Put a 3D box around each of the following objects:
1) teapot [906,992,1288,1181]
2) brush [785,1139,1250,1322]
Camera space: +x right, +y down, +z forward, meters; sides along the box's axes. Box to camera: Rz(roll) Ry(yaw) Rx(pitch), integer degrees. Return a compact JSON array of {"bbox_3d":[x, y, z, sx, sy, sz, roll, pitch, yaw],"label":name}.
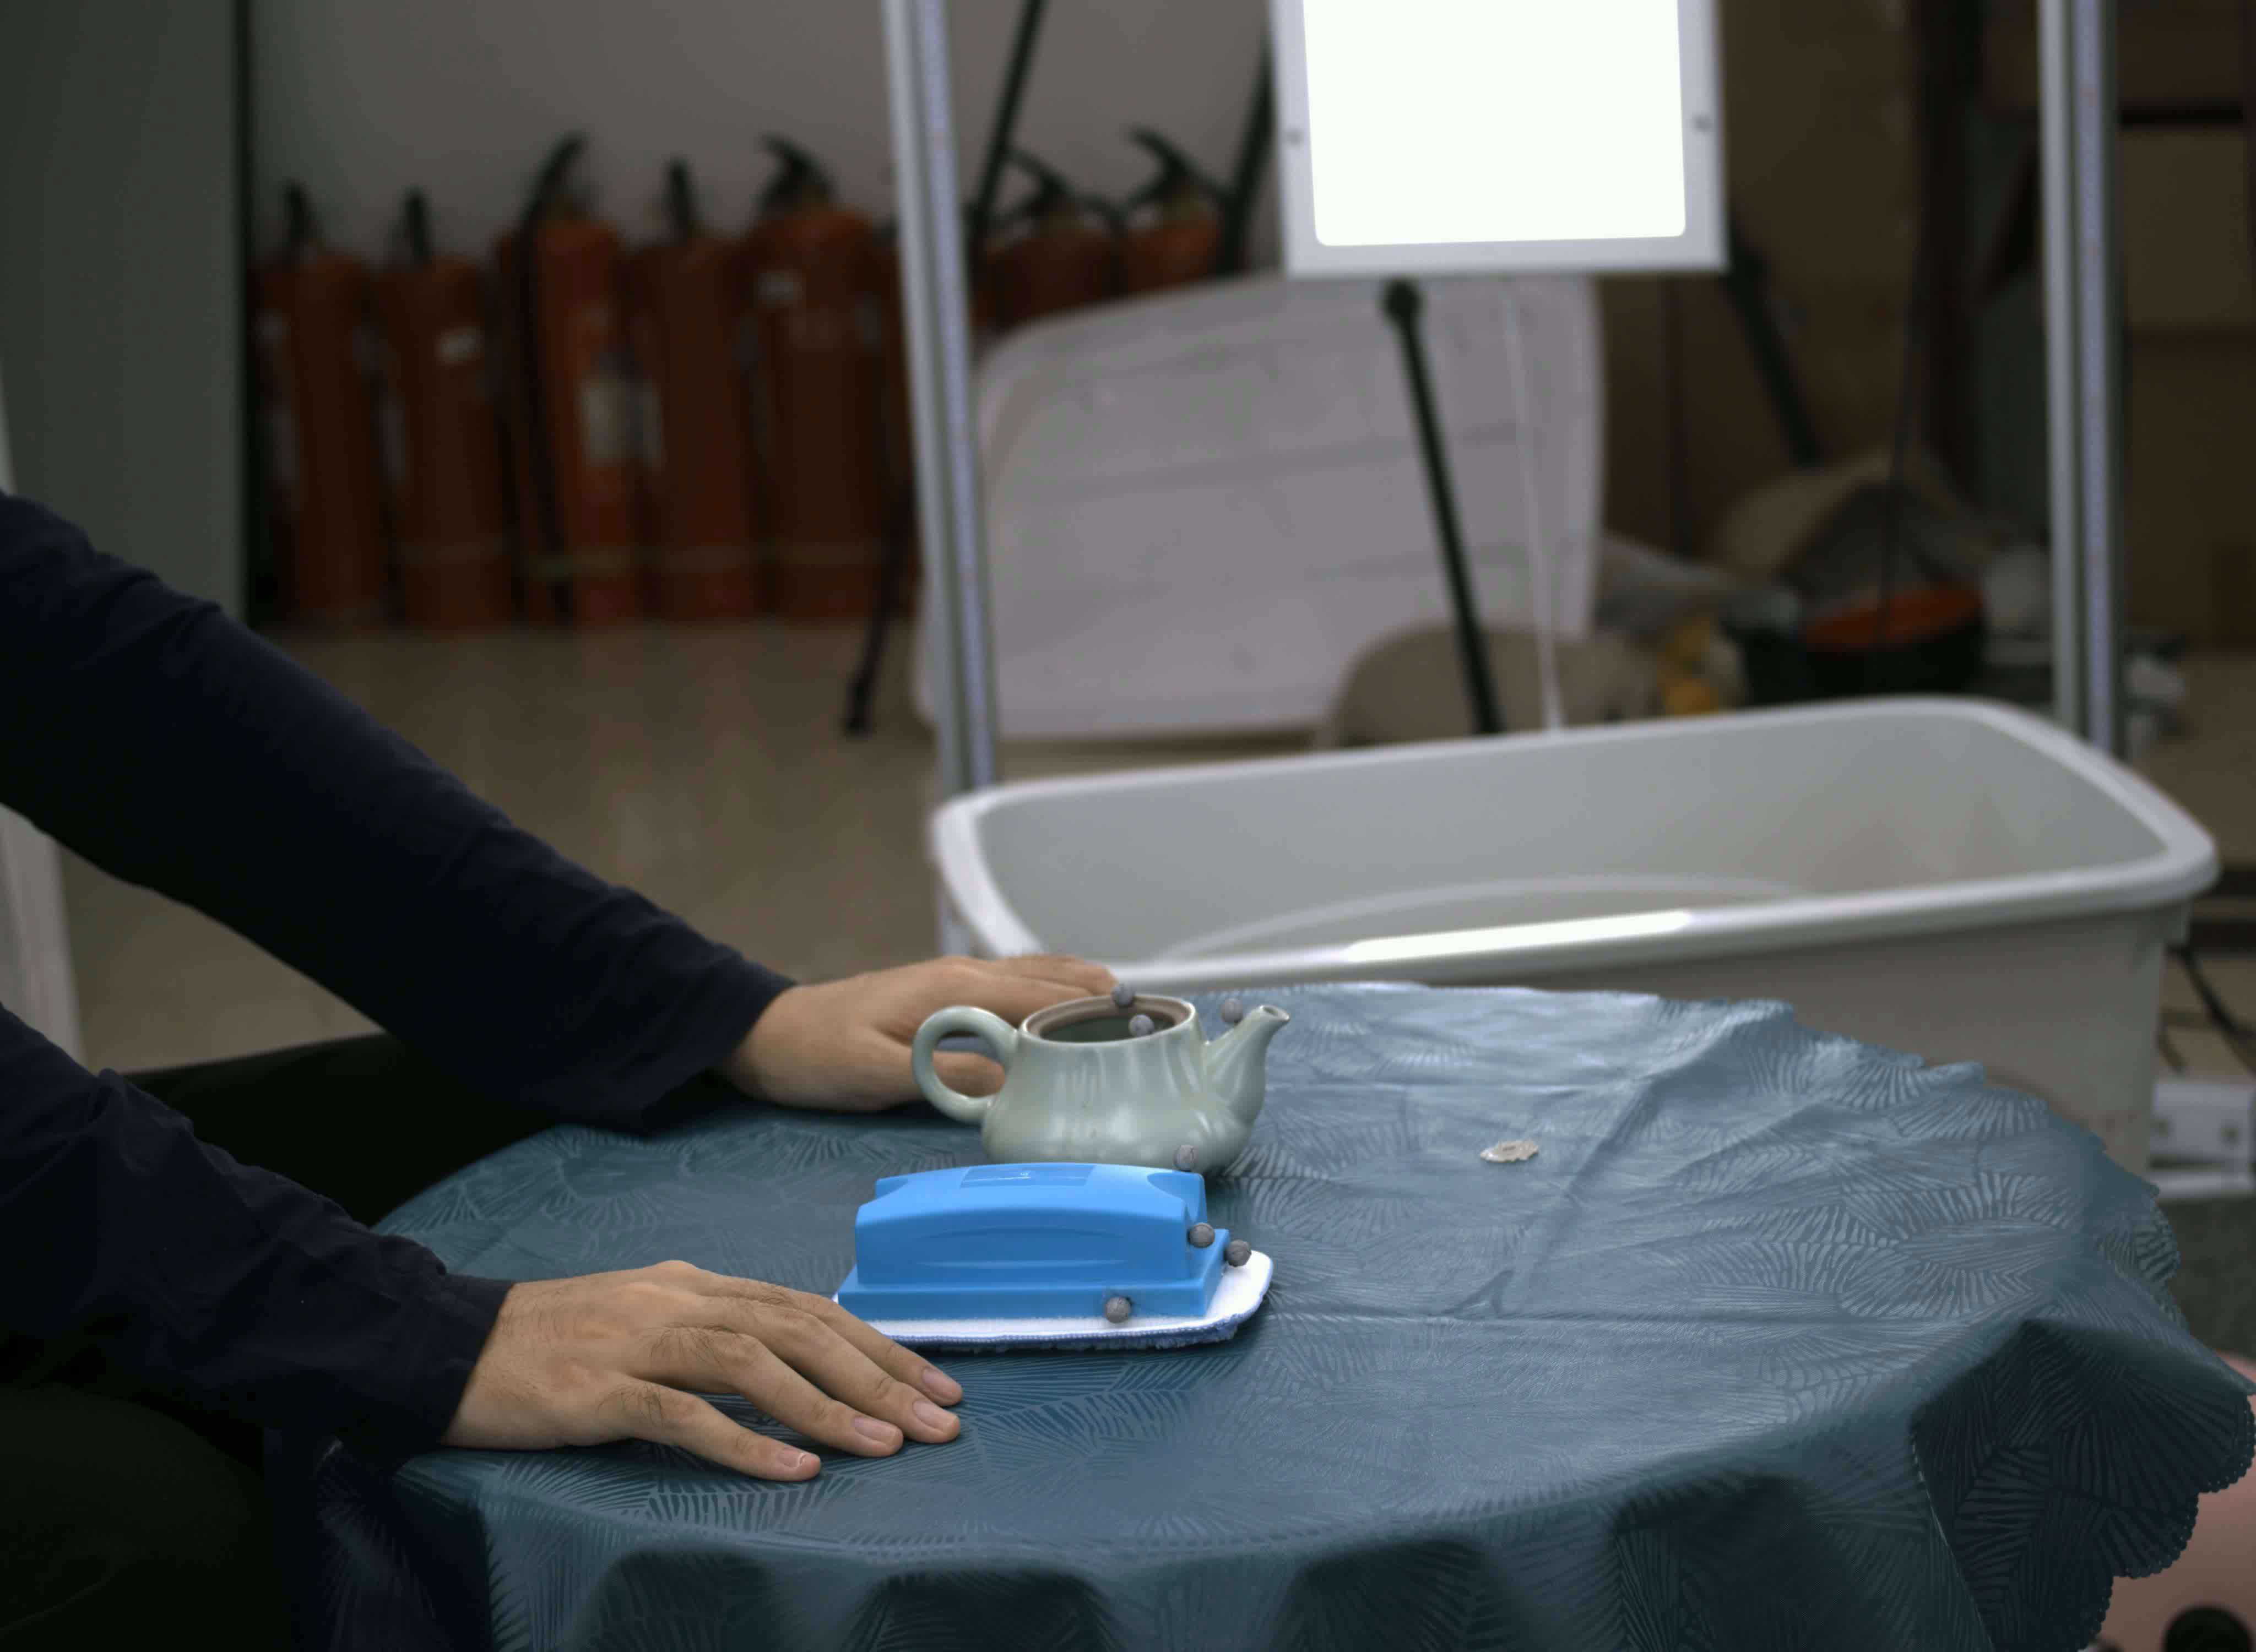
[{"bbox_3d":[-0.010,0.093,1.915,0.138,0.061,0.095,-1,16,14],"label":"teapot"},{"bbox_3d":[-0.035,0.130,1.769,0.145,0.056,0.083,1,12,14],"label":"brush"}]
